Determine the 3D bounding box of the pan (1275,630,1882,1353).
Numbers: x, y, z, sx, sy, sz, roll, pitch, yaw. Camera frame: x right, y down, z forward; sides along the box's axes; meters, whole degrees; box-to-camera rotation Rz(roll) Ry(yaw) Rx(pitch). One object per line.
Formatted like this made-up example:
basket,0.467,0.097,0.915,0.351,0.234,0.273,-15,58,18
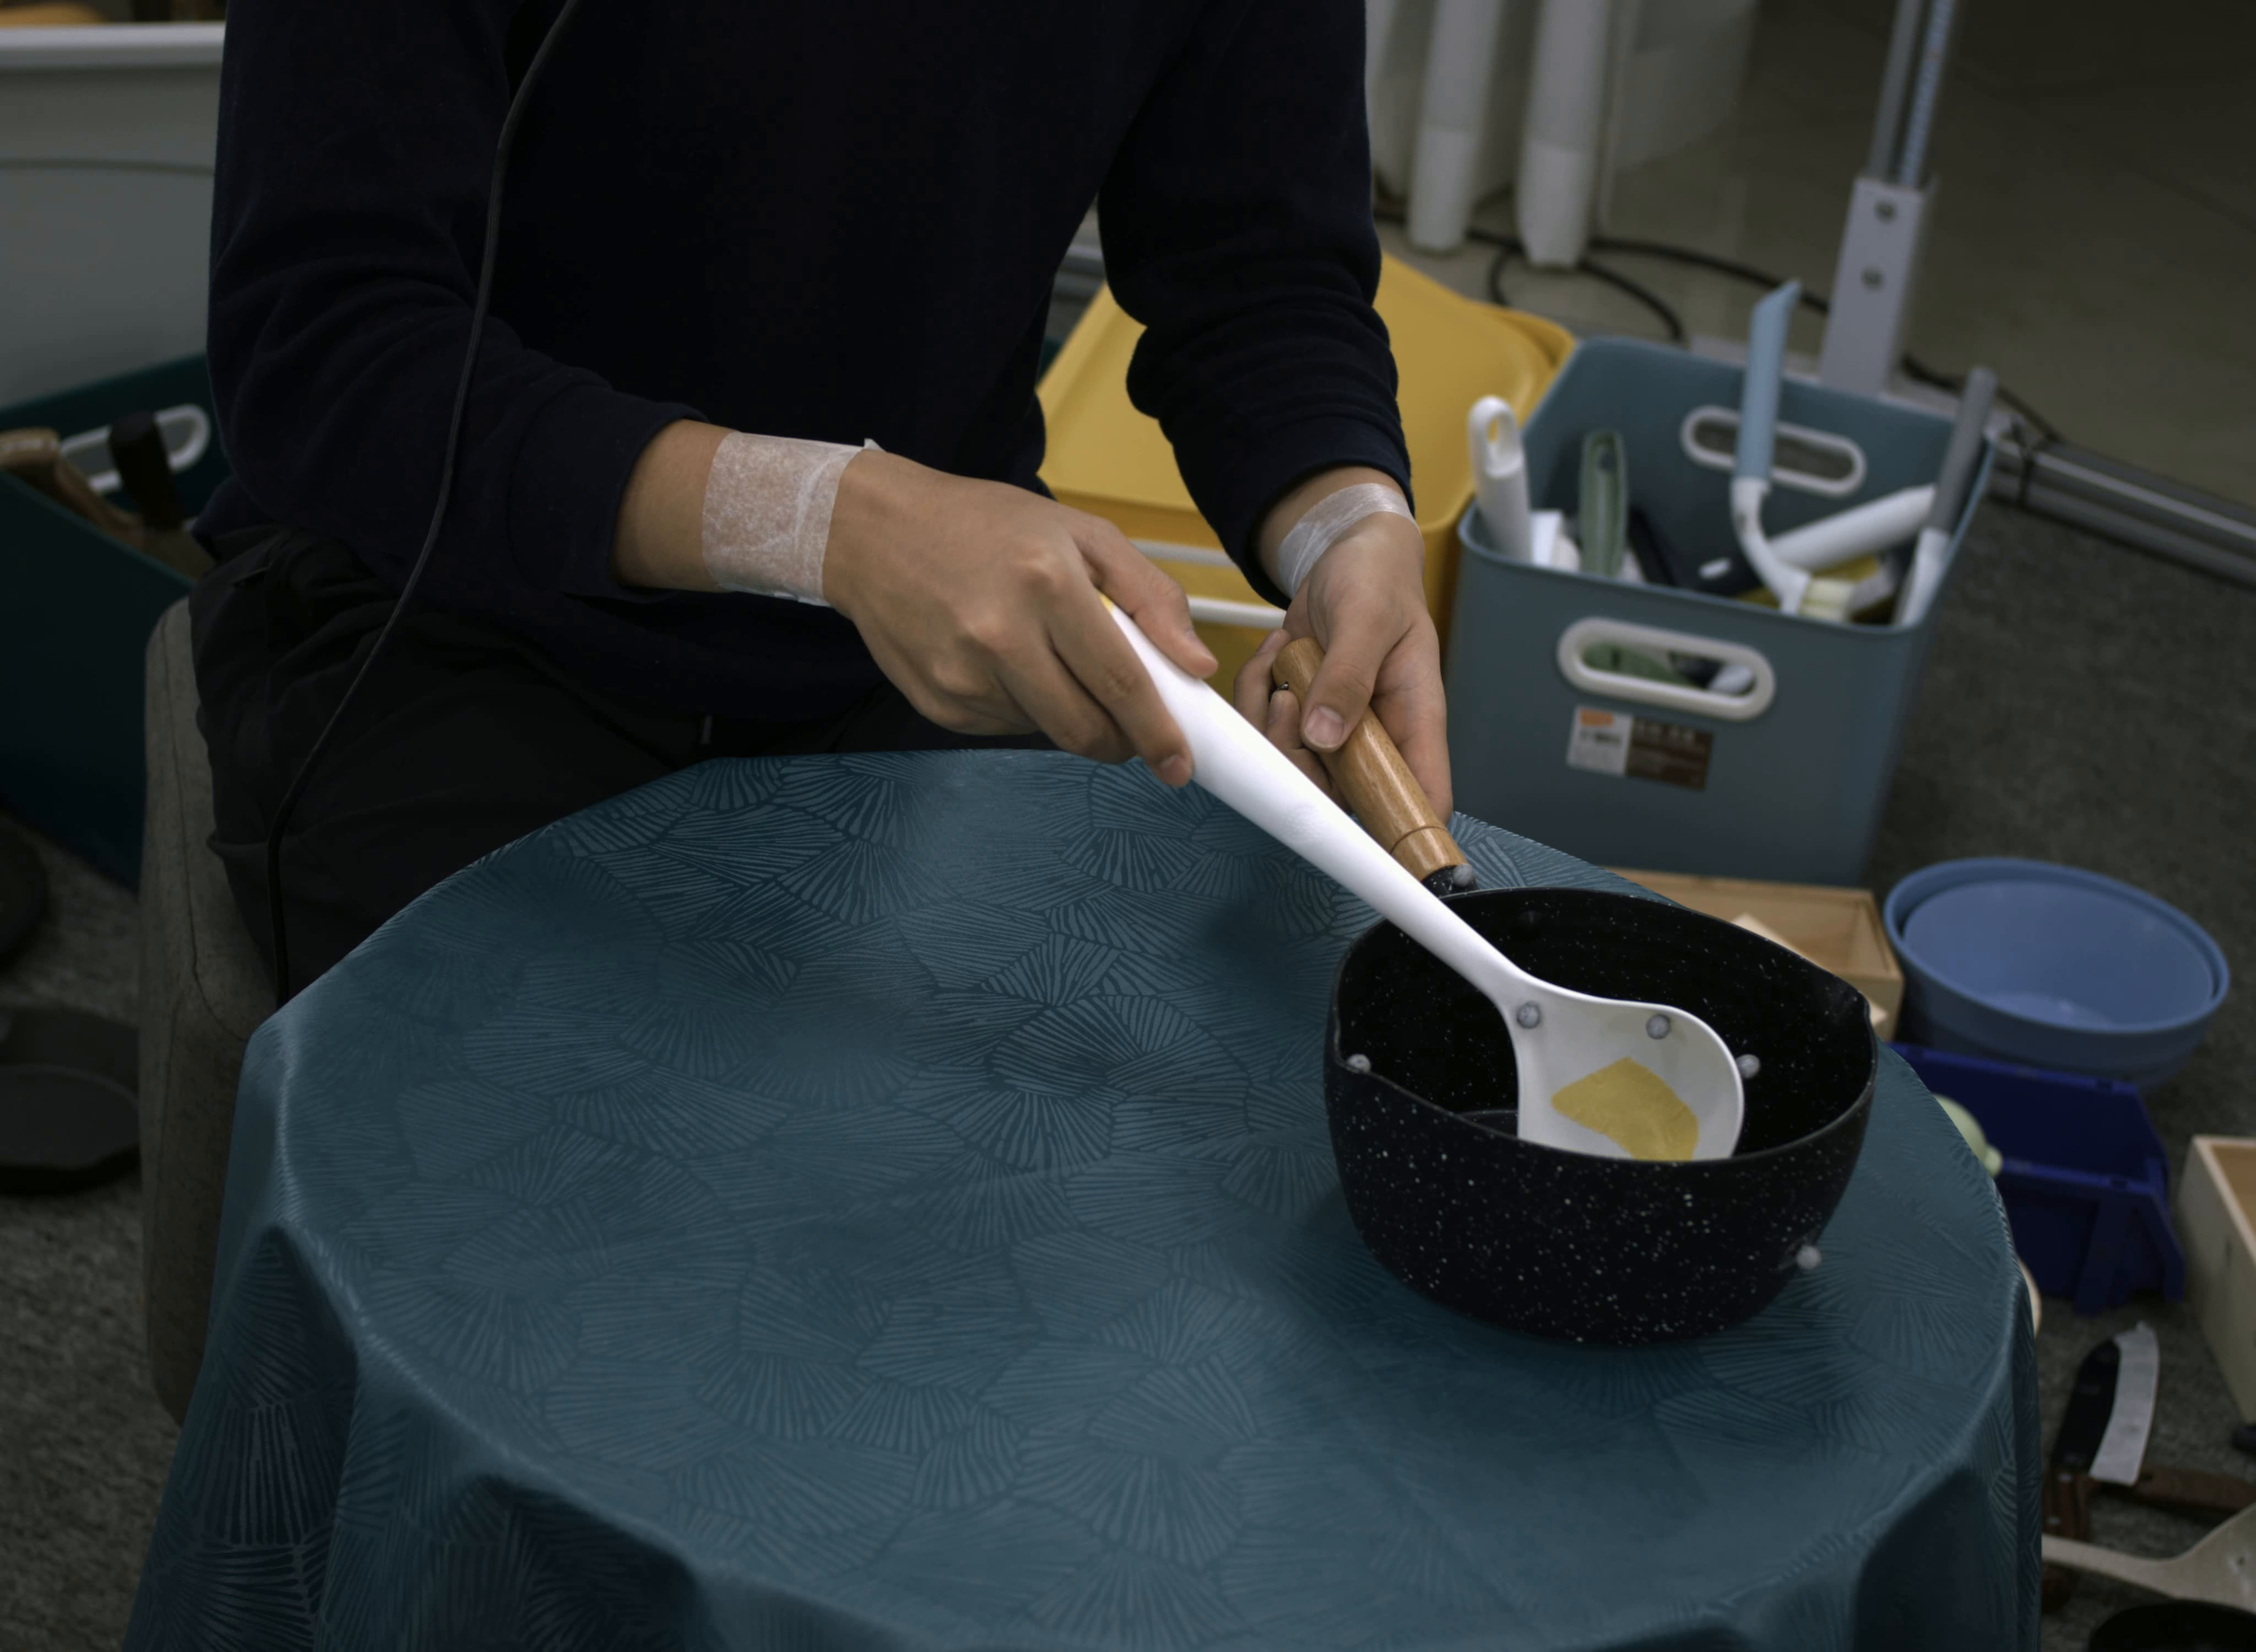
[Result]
pan,0.123,0.054,1.847,0.206,0.108,0.346,-7,31,-23

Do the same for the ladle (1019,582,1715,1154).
ladle,0.077,0.031,1.793,0.292,0.090,0.070,41,26,-4
